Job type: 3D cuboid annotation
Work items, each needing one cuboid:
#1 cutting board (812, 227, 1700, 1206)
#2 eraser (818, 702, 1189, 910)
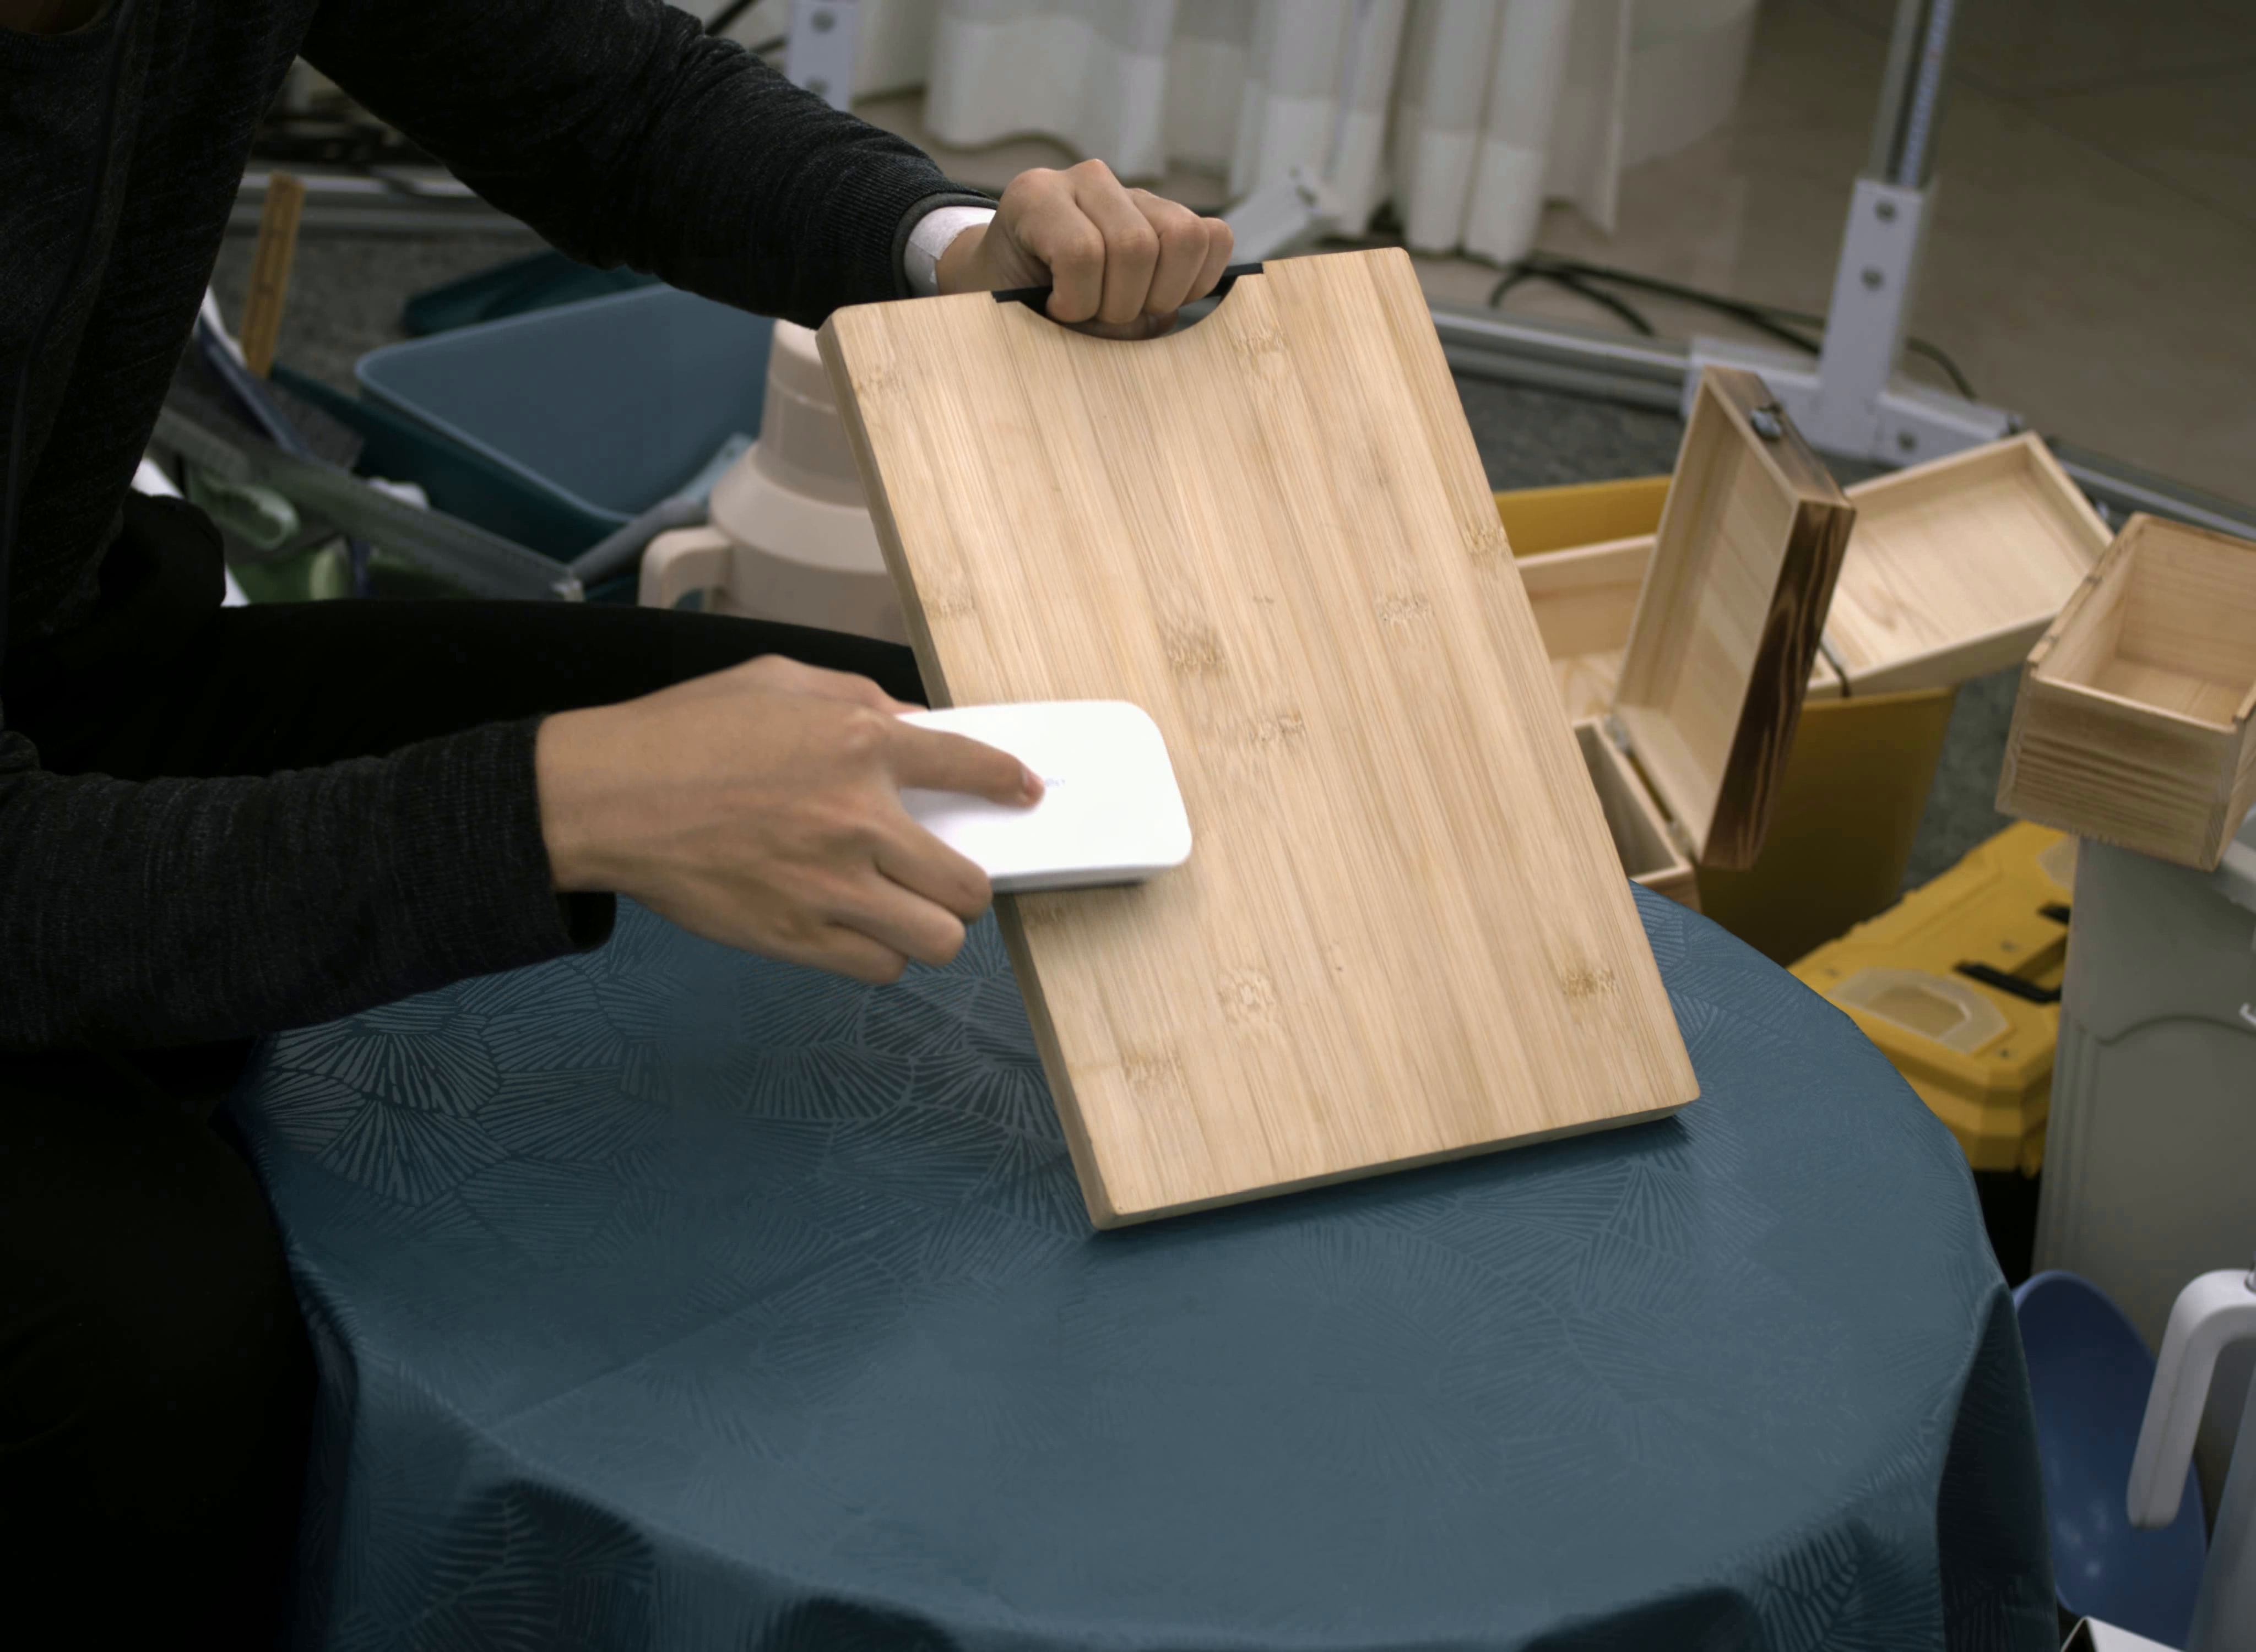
[{"bbox_3d":[0.044,-0.044,1.876,0.249,0.023,0.351,-9,71,-28],"label":"cutting board"},{"bbox_3d":[-0.041,-0.006,1.781,0.130,0.034,0.064,-2,67,-35],"label":"eraser"}]
